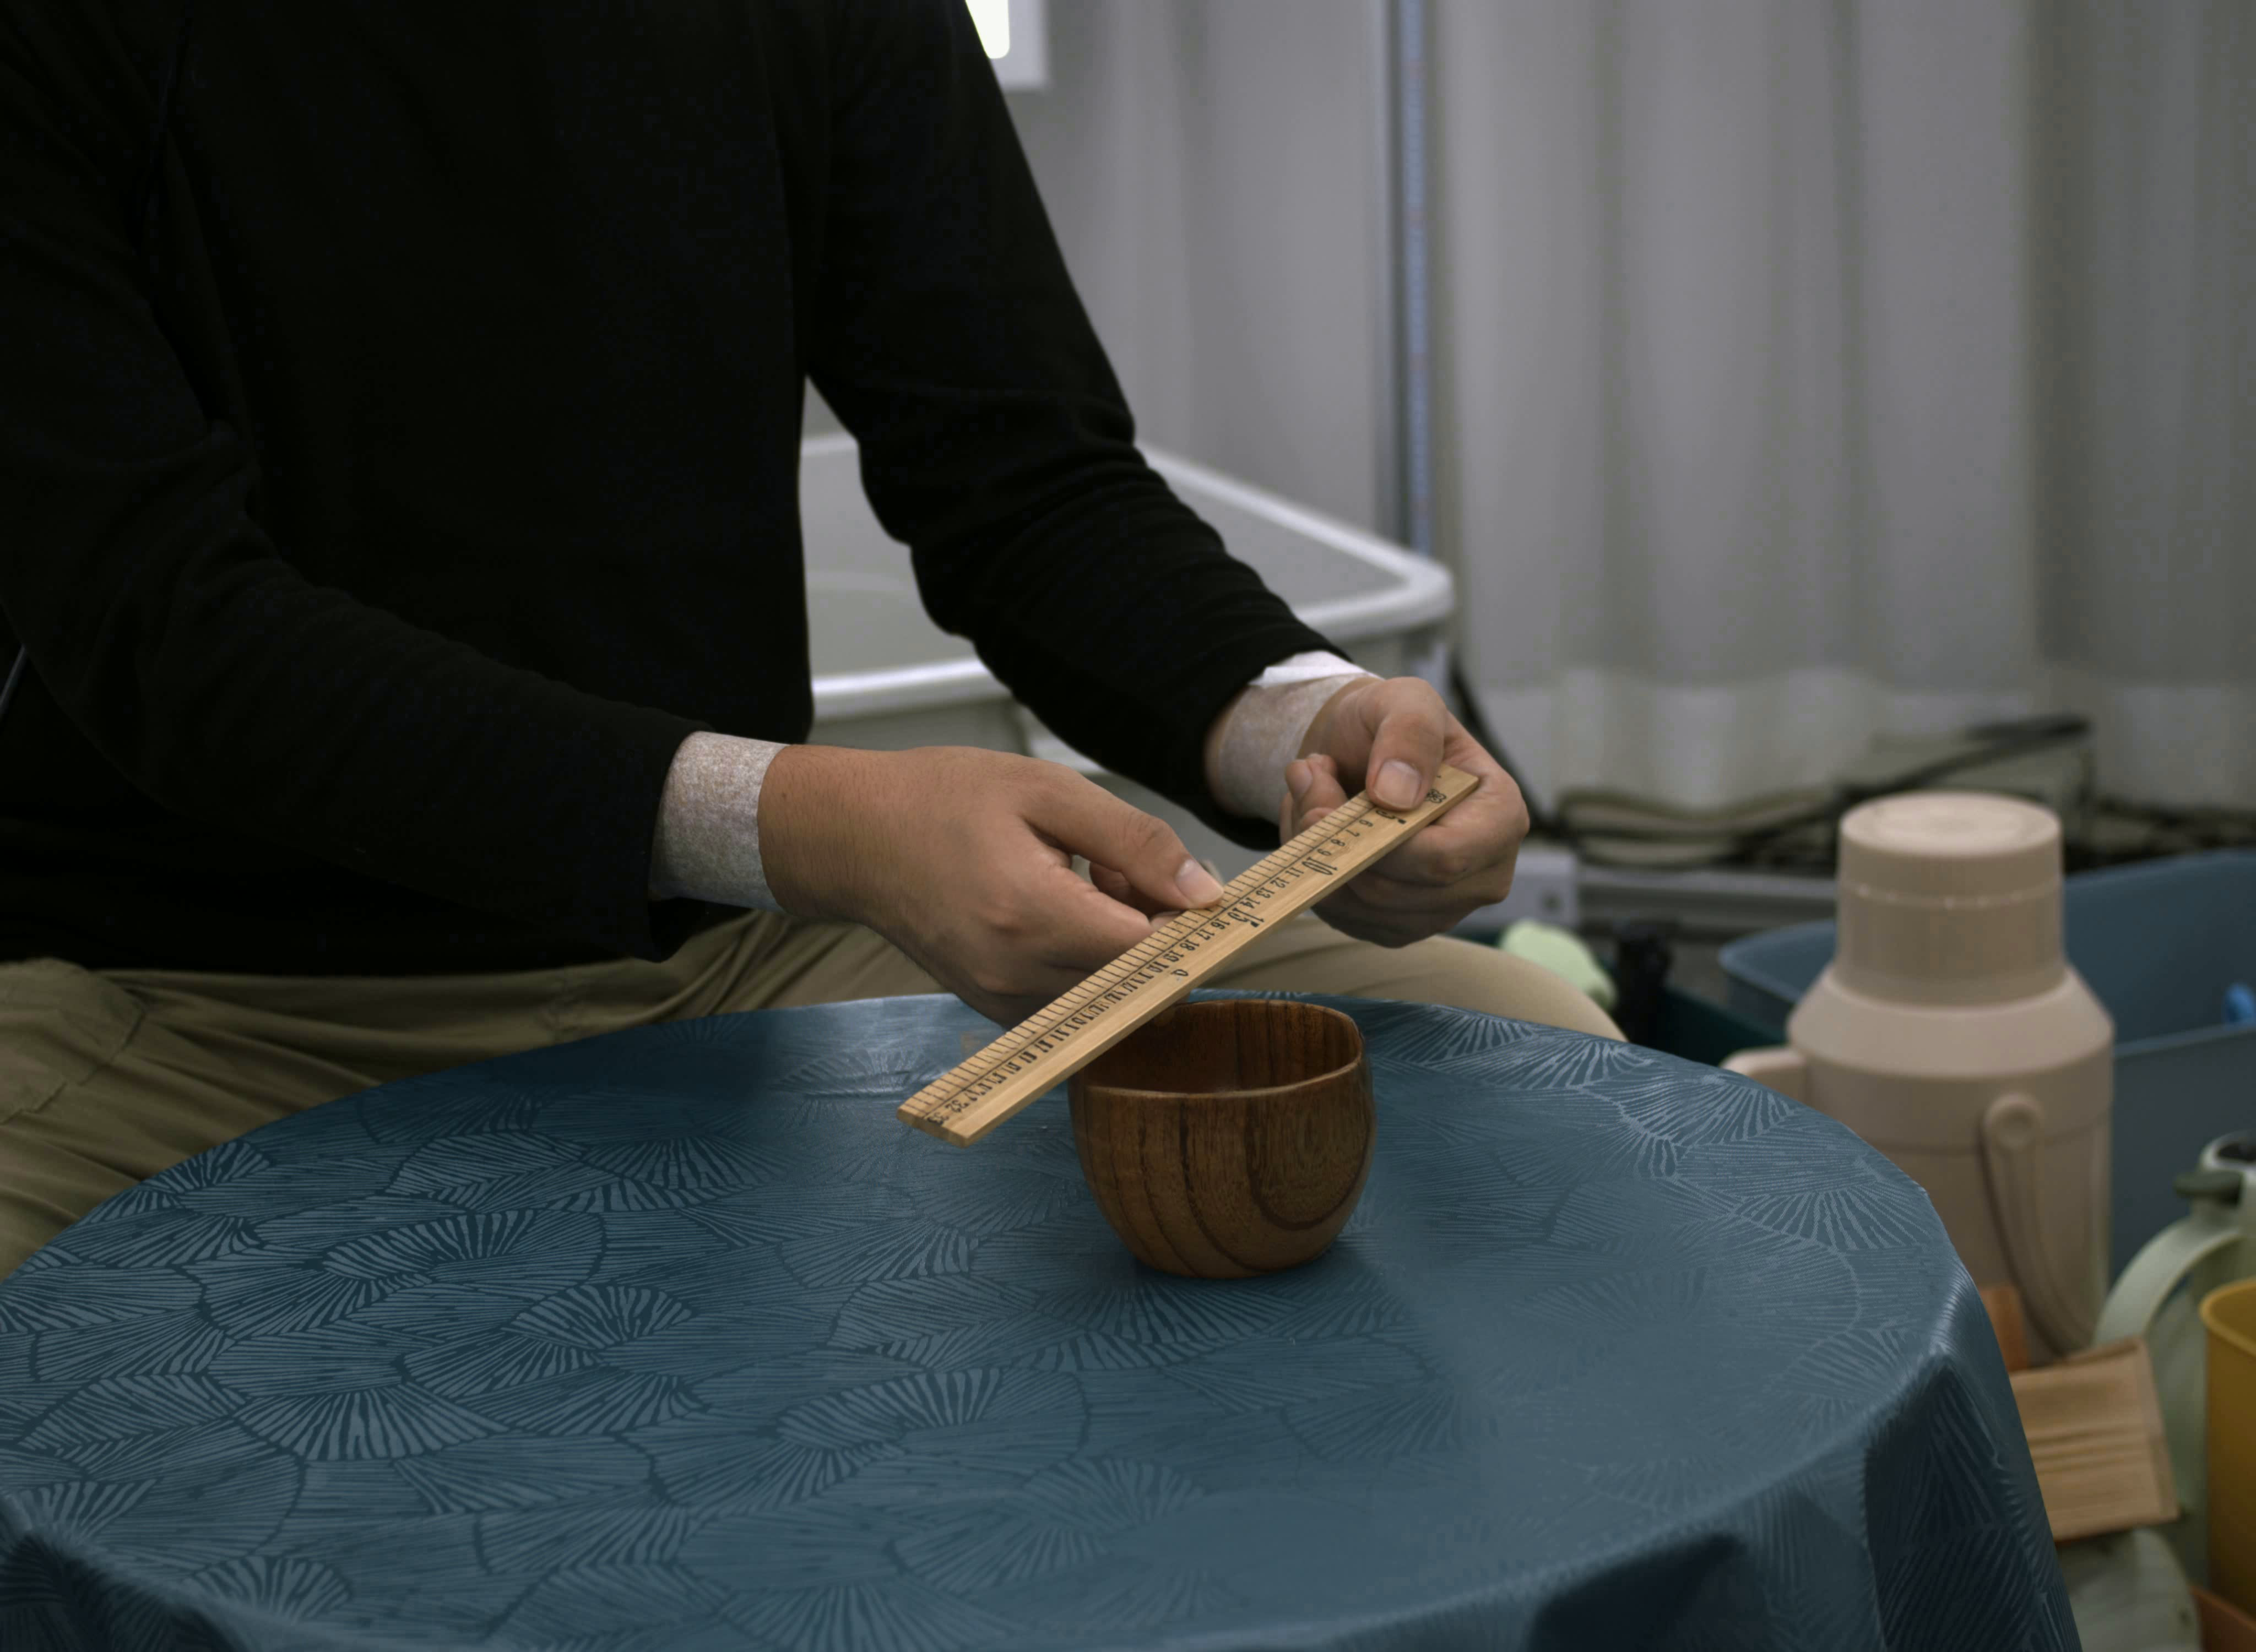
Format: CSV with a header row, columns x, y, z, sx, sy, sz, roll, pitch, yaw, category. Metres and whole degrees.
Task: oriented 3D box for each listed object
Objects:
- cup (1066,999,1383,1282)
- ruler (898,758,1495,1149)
x,y,z,sx,sy,sz,roll,pitch,yaw,category
0.026,0.094,1.661,0.096,0.067,0.120,-11,15,-23,cup
0.029,0.032,1.716,0.027,0.022,0.332,27,31,22,ruler
